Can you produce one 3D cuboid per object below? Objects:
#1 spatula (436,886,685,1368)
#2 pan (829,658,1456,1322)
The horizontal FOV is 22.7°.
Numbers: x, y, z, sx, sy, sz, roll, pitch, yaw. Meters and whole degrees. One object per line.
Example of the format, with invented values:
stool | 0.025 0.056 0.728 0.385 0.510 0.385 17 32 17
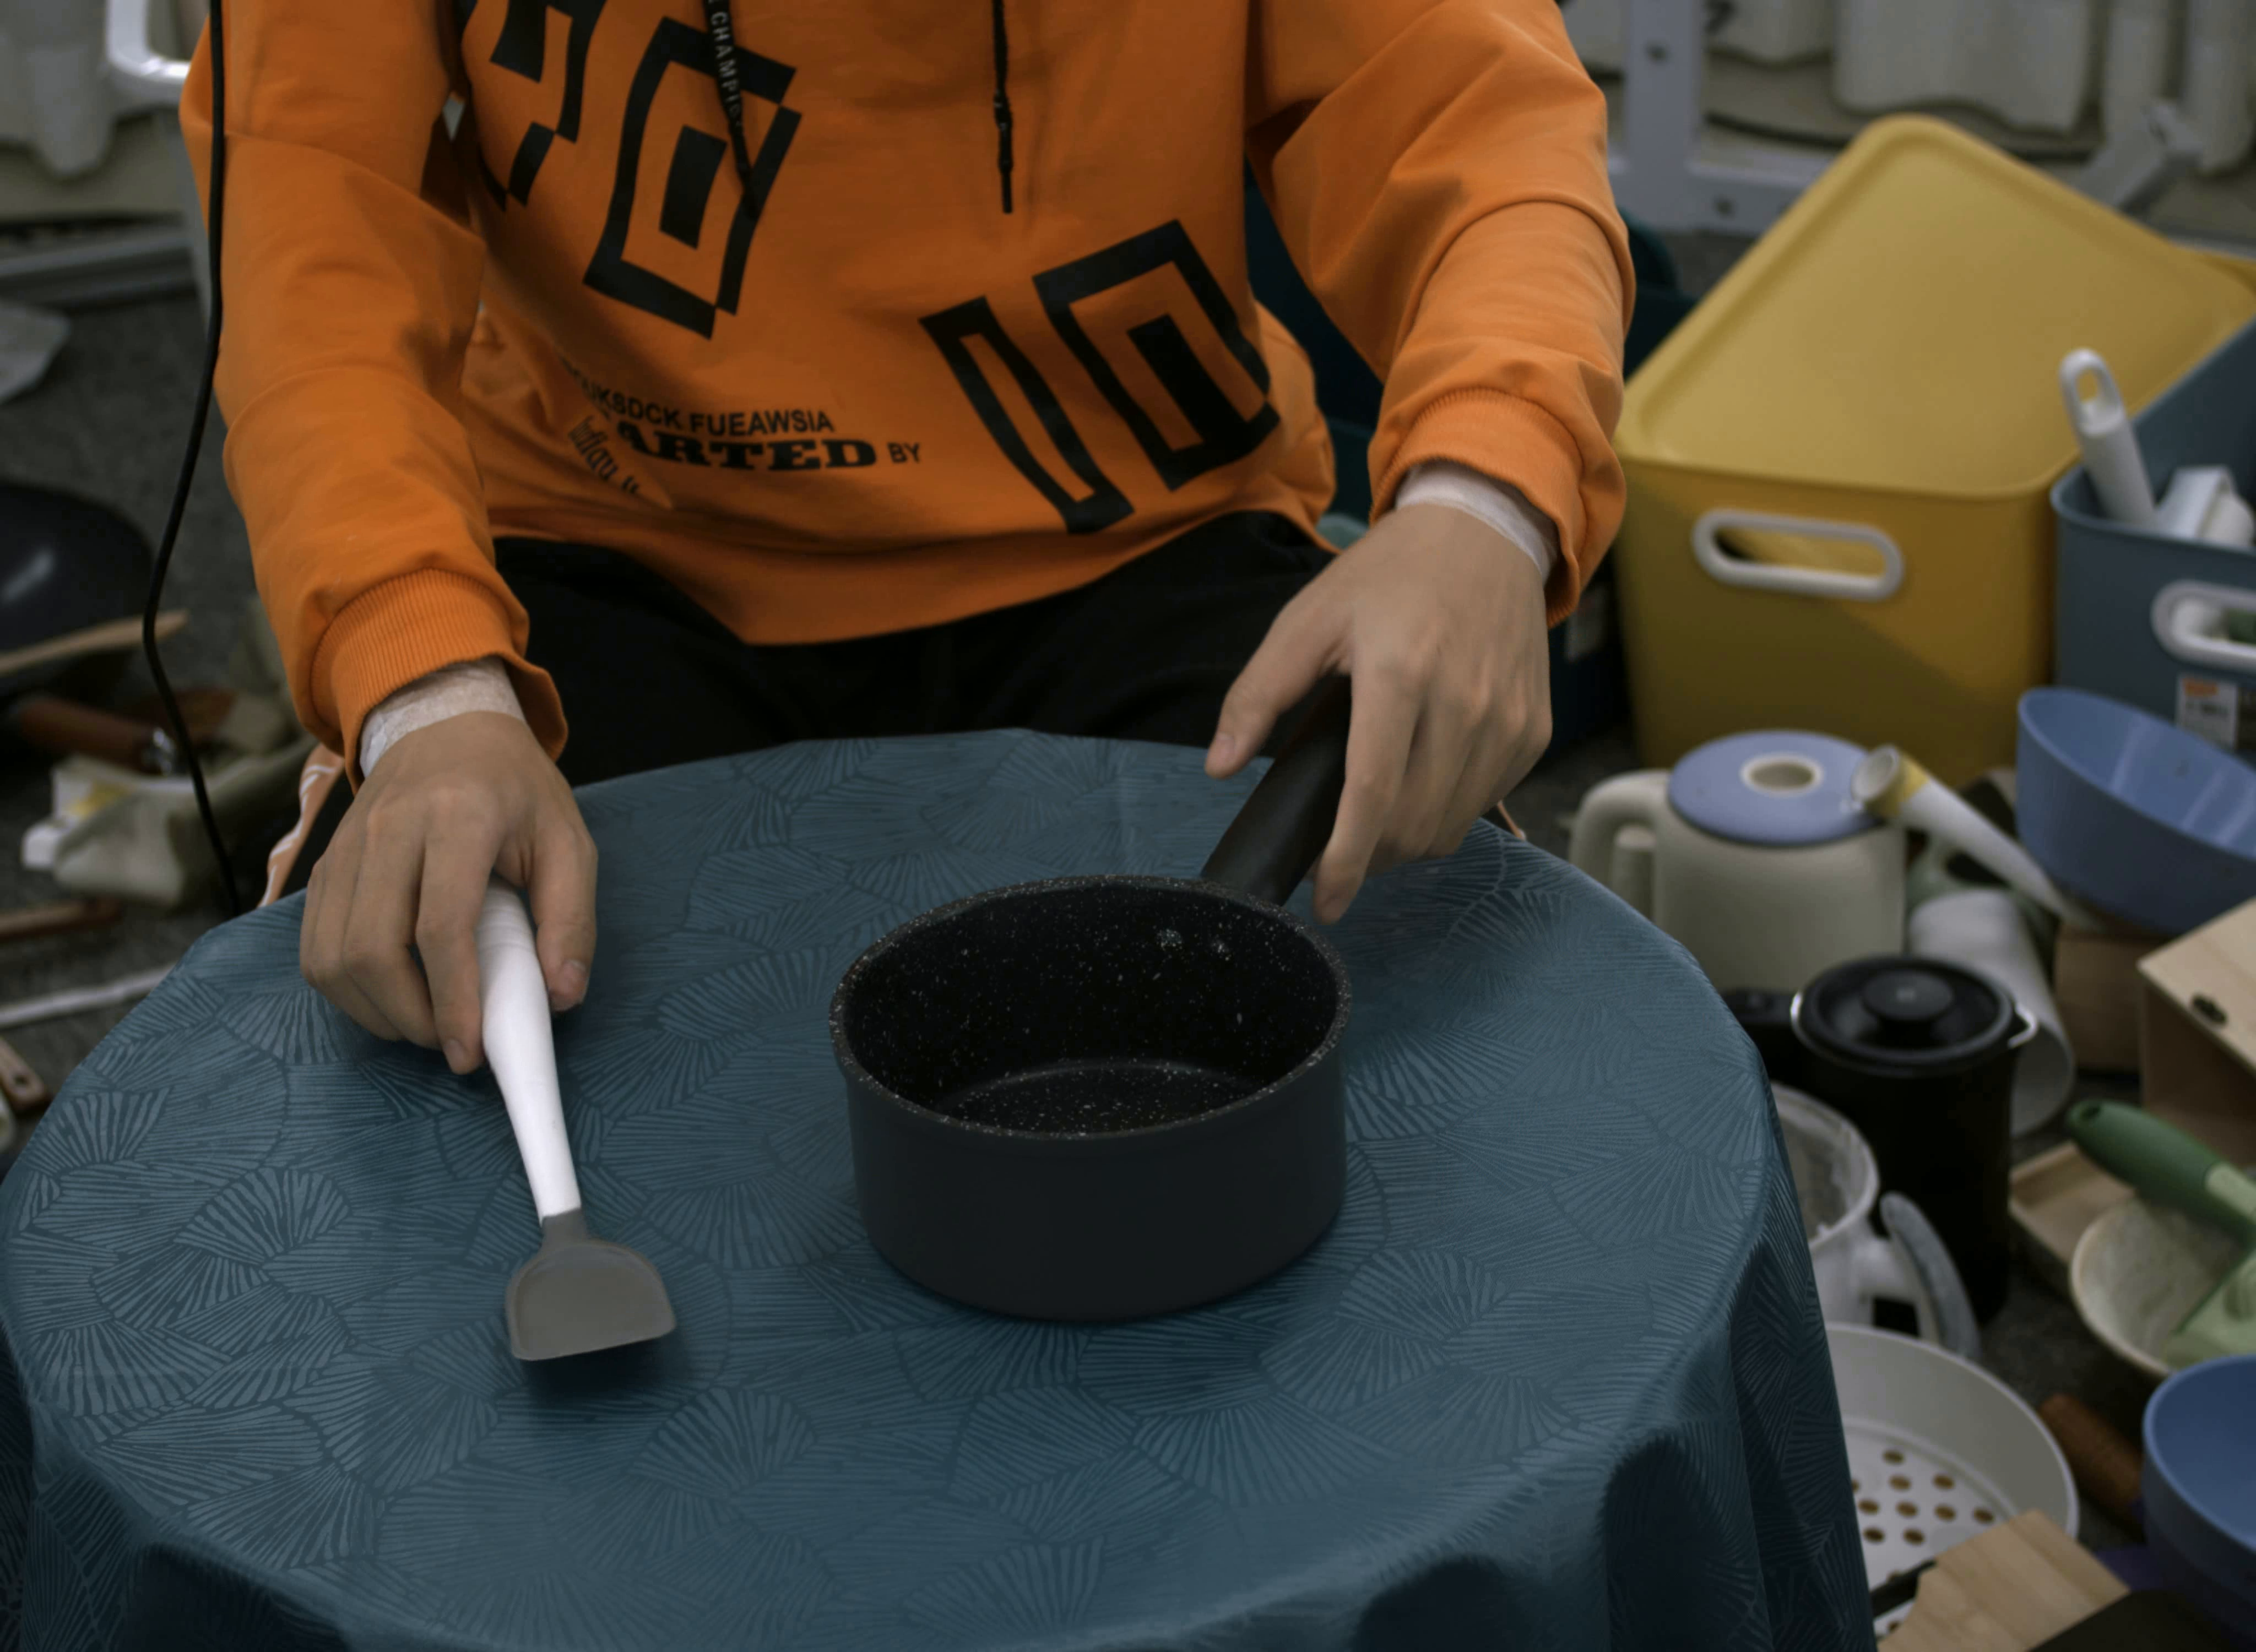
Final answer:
spatula | -0.196 0.104 1.877 0.058 0.032 0.291 -4 29 -13
pan | 0.026 0.051 1.904 0.171 0.085 0.334 12 33 25
